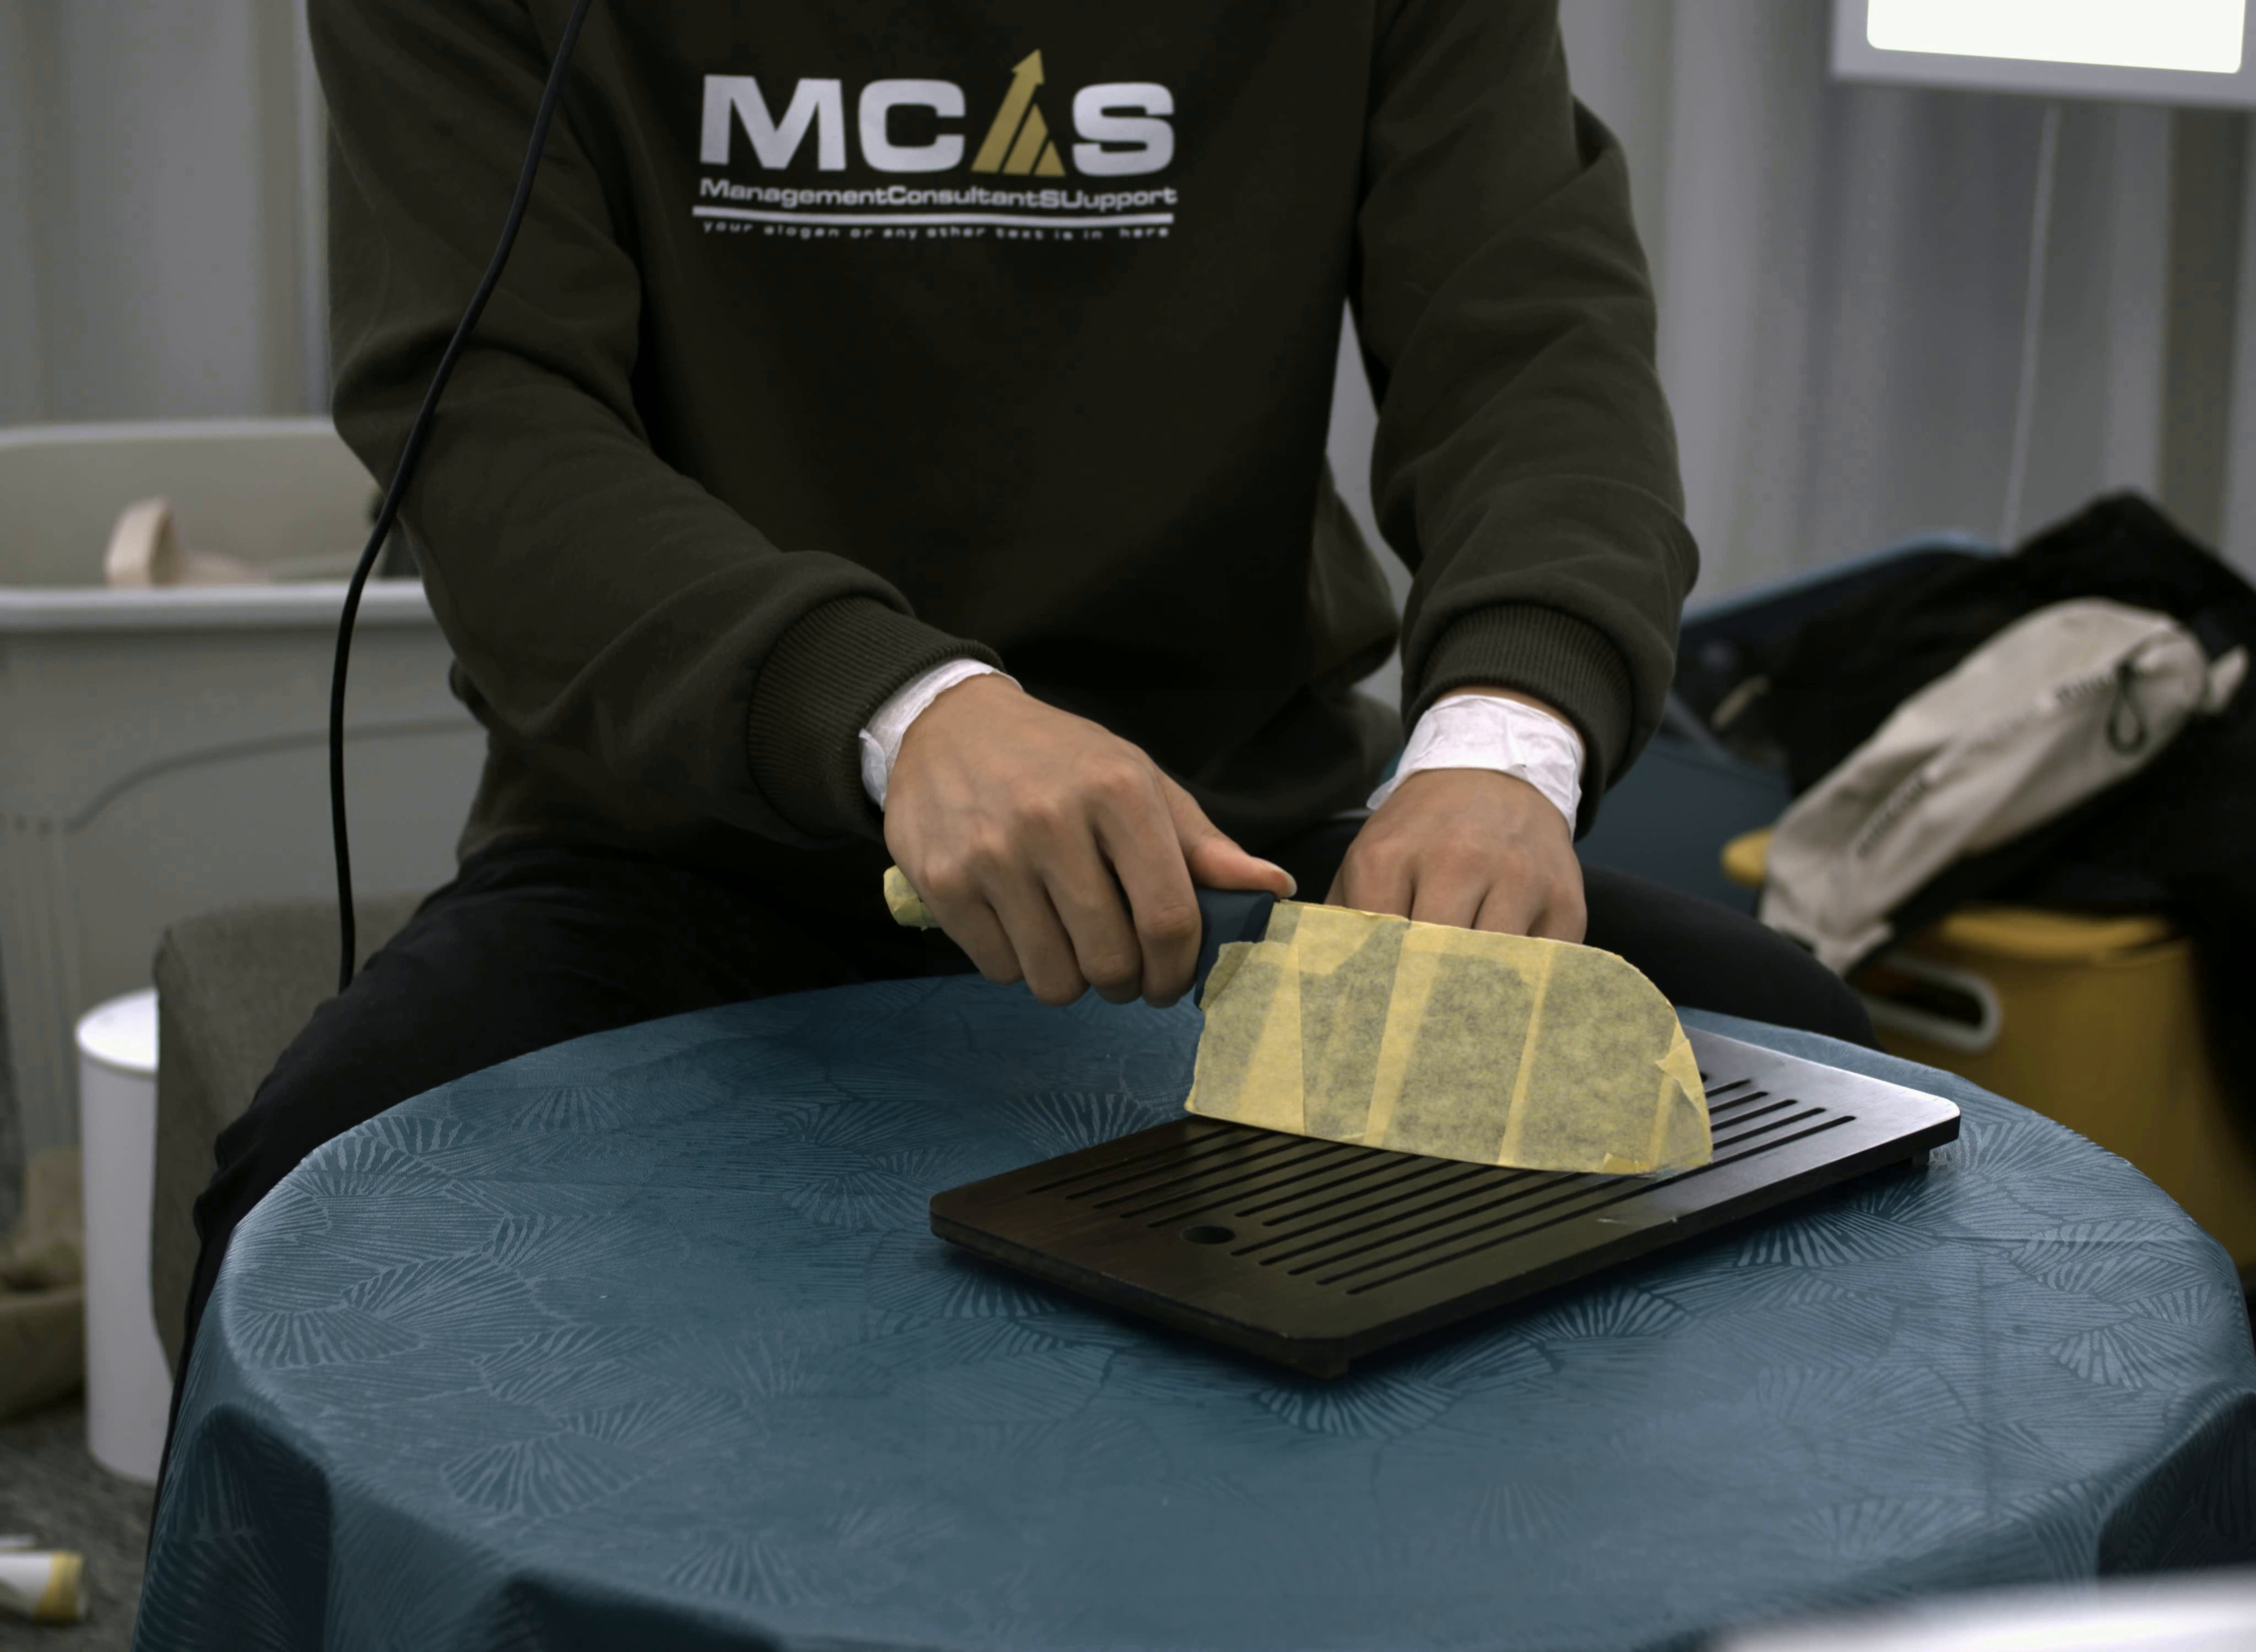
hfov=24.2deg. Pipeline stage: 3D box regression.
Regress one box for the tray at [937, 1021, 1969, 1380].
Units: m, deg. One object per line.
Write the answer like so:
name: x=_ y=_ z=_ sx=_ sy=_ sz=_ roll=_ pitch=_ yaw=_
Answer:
tray: x=0.103 y=0.108 z=1.610 sx=0.307 sy=0.019 sz=0.168 roll=-14 pitch=20 yaw=-43

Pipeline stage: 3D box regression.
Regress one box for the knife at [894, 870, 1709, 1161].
knife: x=0.049 y=0.057 z=1.641 sx=0.286 sy=0.081 sz=0.027 roll=11 pitch=-13 yaw=27
